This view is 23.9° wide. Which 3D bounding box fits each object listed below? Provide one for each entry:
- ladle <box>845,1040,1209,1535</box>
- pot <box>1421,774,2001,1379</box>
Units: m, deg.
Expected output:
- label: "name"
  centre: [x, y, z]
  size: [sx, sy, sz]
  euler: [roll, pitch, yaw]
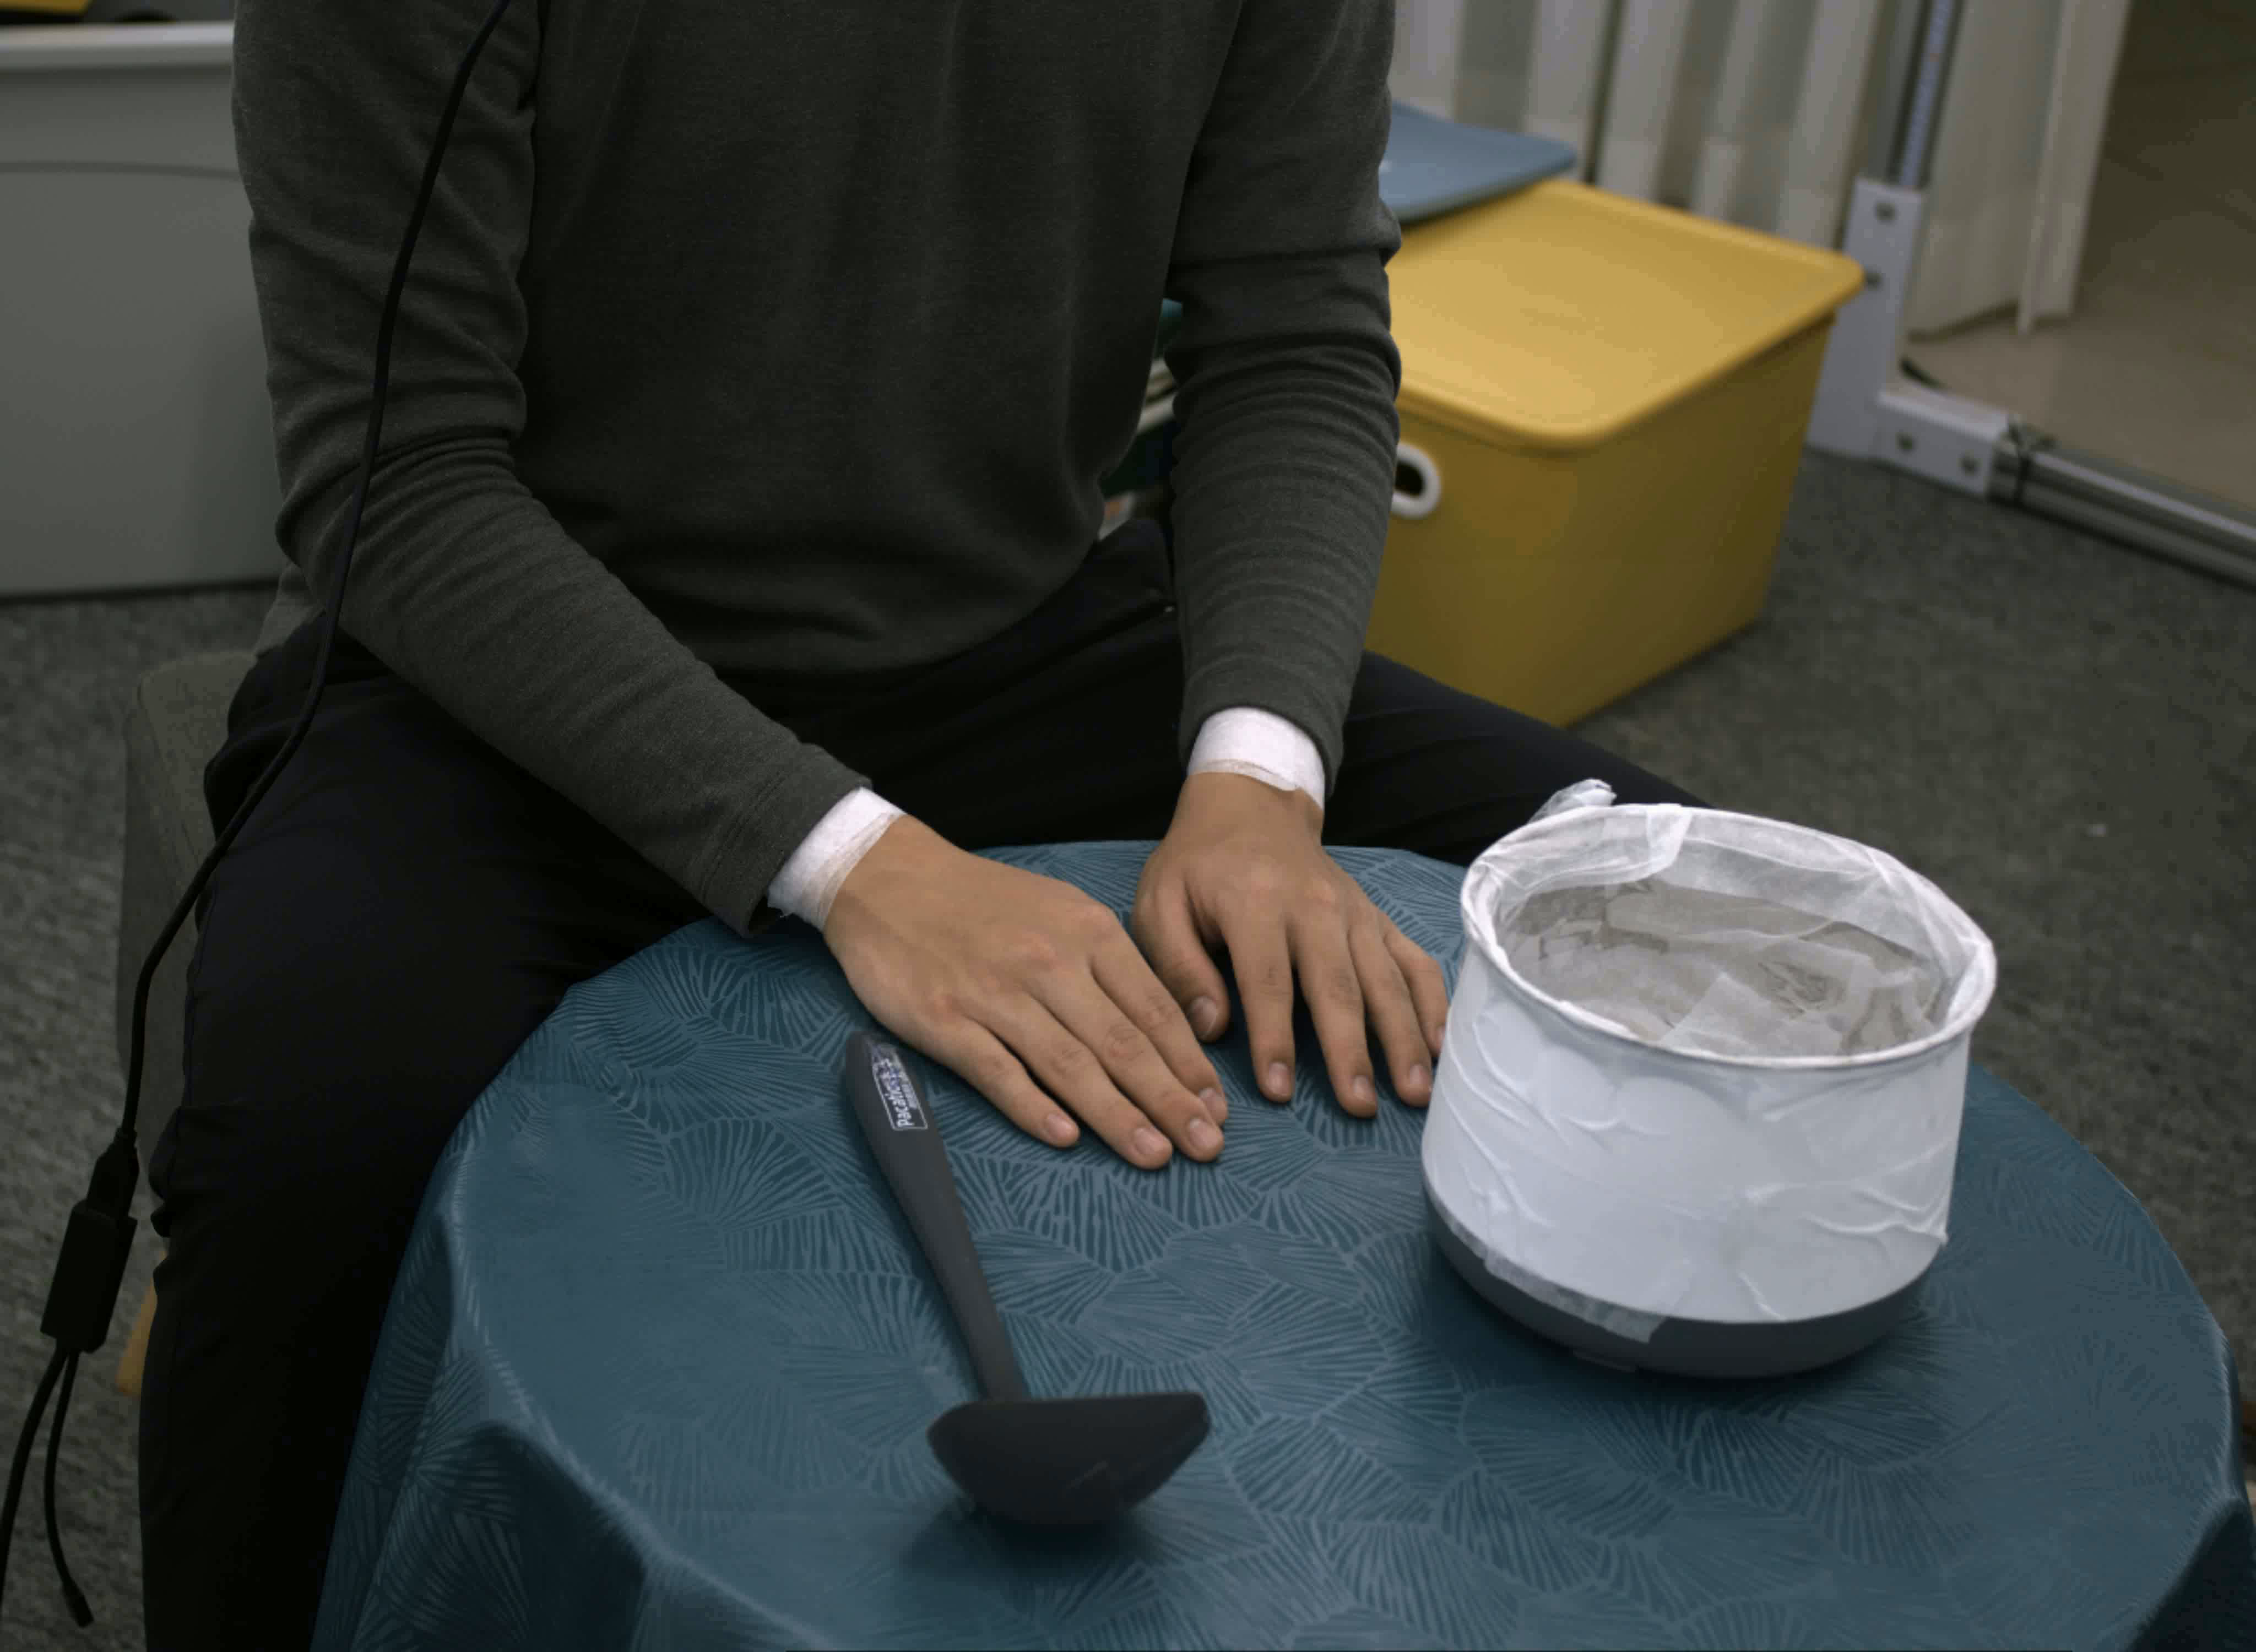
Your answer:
- label: "ladle"
  centre: [-0.050, 0.129, 1.714]
  size: [0.085, 0.064, 0.316]
  euler: [3, 26, -17]
- label: "pot"
  centre: [0.179, 0.076, 1.787]
  size: [0.177, 0.136, 0.236]
  euler: [-5, 29, -23]
